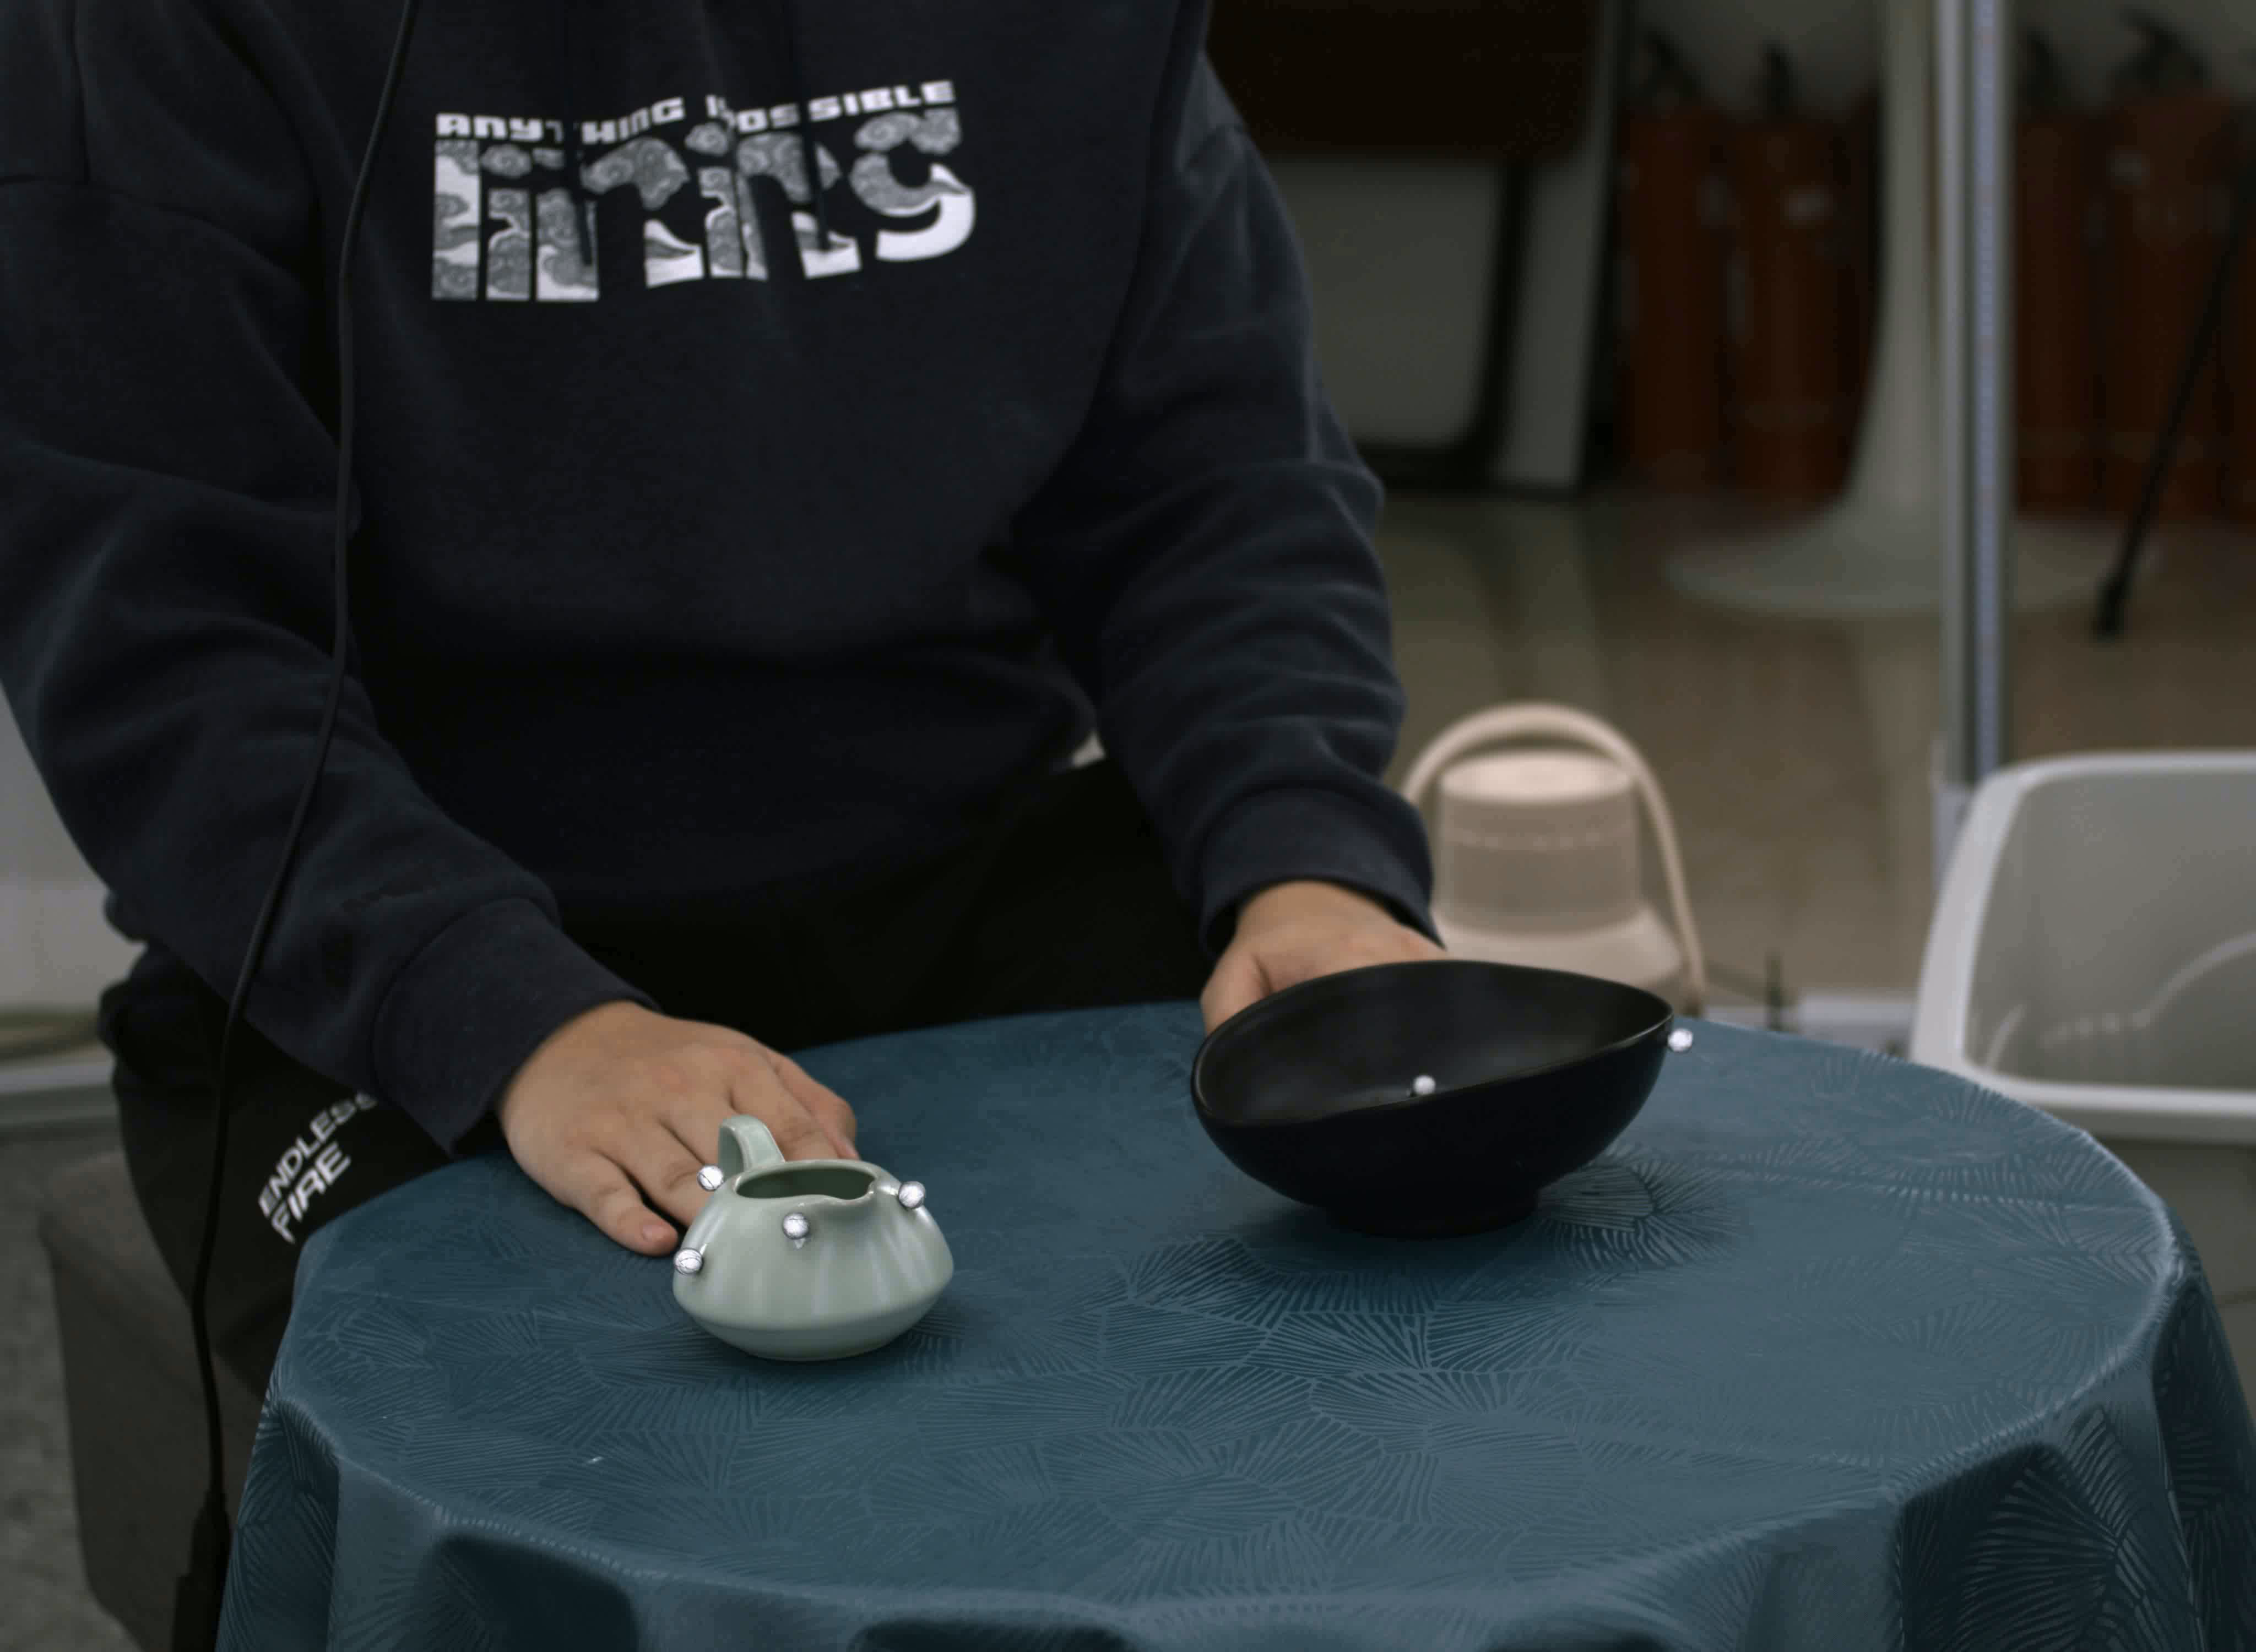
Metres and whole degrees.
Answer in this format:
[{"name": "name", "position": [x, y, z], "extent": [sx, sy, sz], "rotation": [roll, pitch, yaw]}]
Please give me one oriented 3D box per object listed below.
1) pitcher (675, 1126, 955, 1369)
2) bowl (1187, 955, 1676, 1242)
[{"name": "pitcher", "position": [-0.101, 0.129, 1.654], "extent": [0.084, 0.061, 0.109], "rotation": [-9, 12, -25]}, {"name": "bowl", "position": [0.100, 0.092, 1.732], "extent": [0.166, 0.067, 0.139], "rotation": [-14, 16, -33]}]
